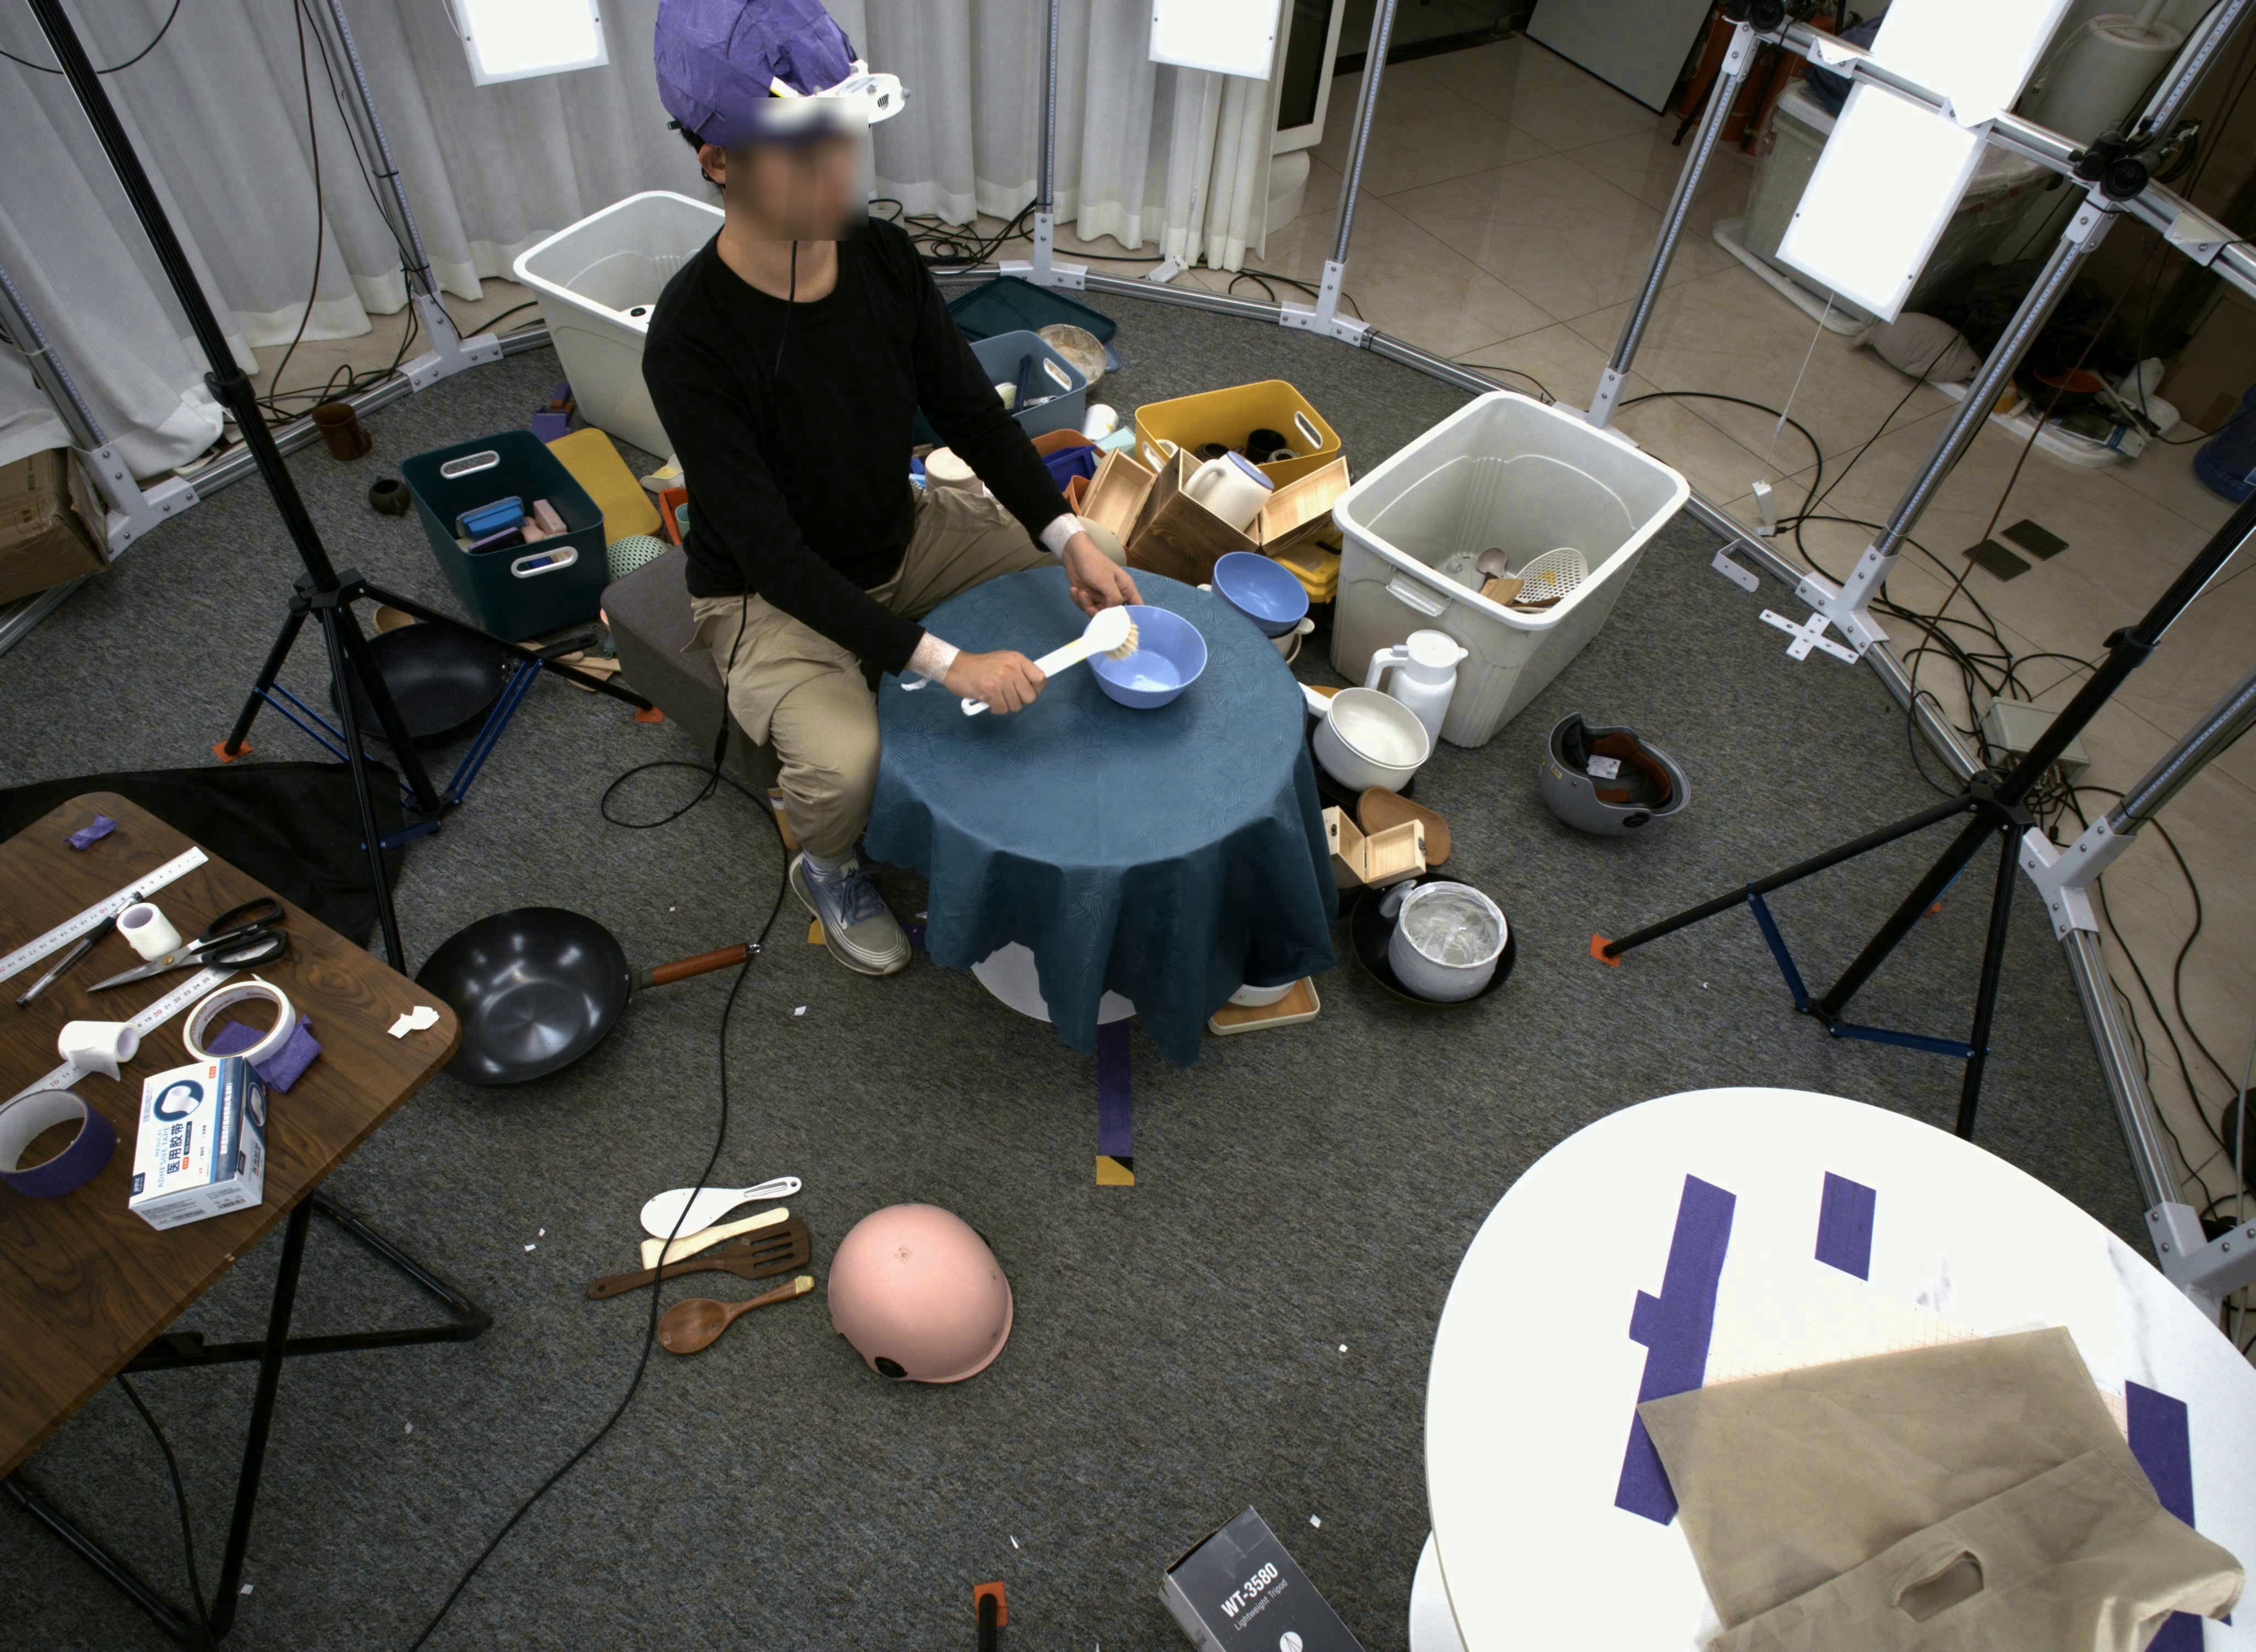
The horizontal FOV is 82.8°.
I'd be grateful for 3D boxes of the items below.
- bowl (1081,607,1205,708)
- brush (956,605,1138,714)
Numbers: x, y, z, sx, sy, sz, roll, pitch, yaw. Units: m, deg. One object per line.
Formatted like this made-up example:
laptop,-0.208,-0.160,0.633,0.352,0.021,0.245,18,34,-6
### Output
bowl,0.017,-0.231,1.820,0.176,0.068,0.180,4,48,-5
brush,-0.108,-0.214,1.740,0.266,0.055,0.070,-30,62,-1
